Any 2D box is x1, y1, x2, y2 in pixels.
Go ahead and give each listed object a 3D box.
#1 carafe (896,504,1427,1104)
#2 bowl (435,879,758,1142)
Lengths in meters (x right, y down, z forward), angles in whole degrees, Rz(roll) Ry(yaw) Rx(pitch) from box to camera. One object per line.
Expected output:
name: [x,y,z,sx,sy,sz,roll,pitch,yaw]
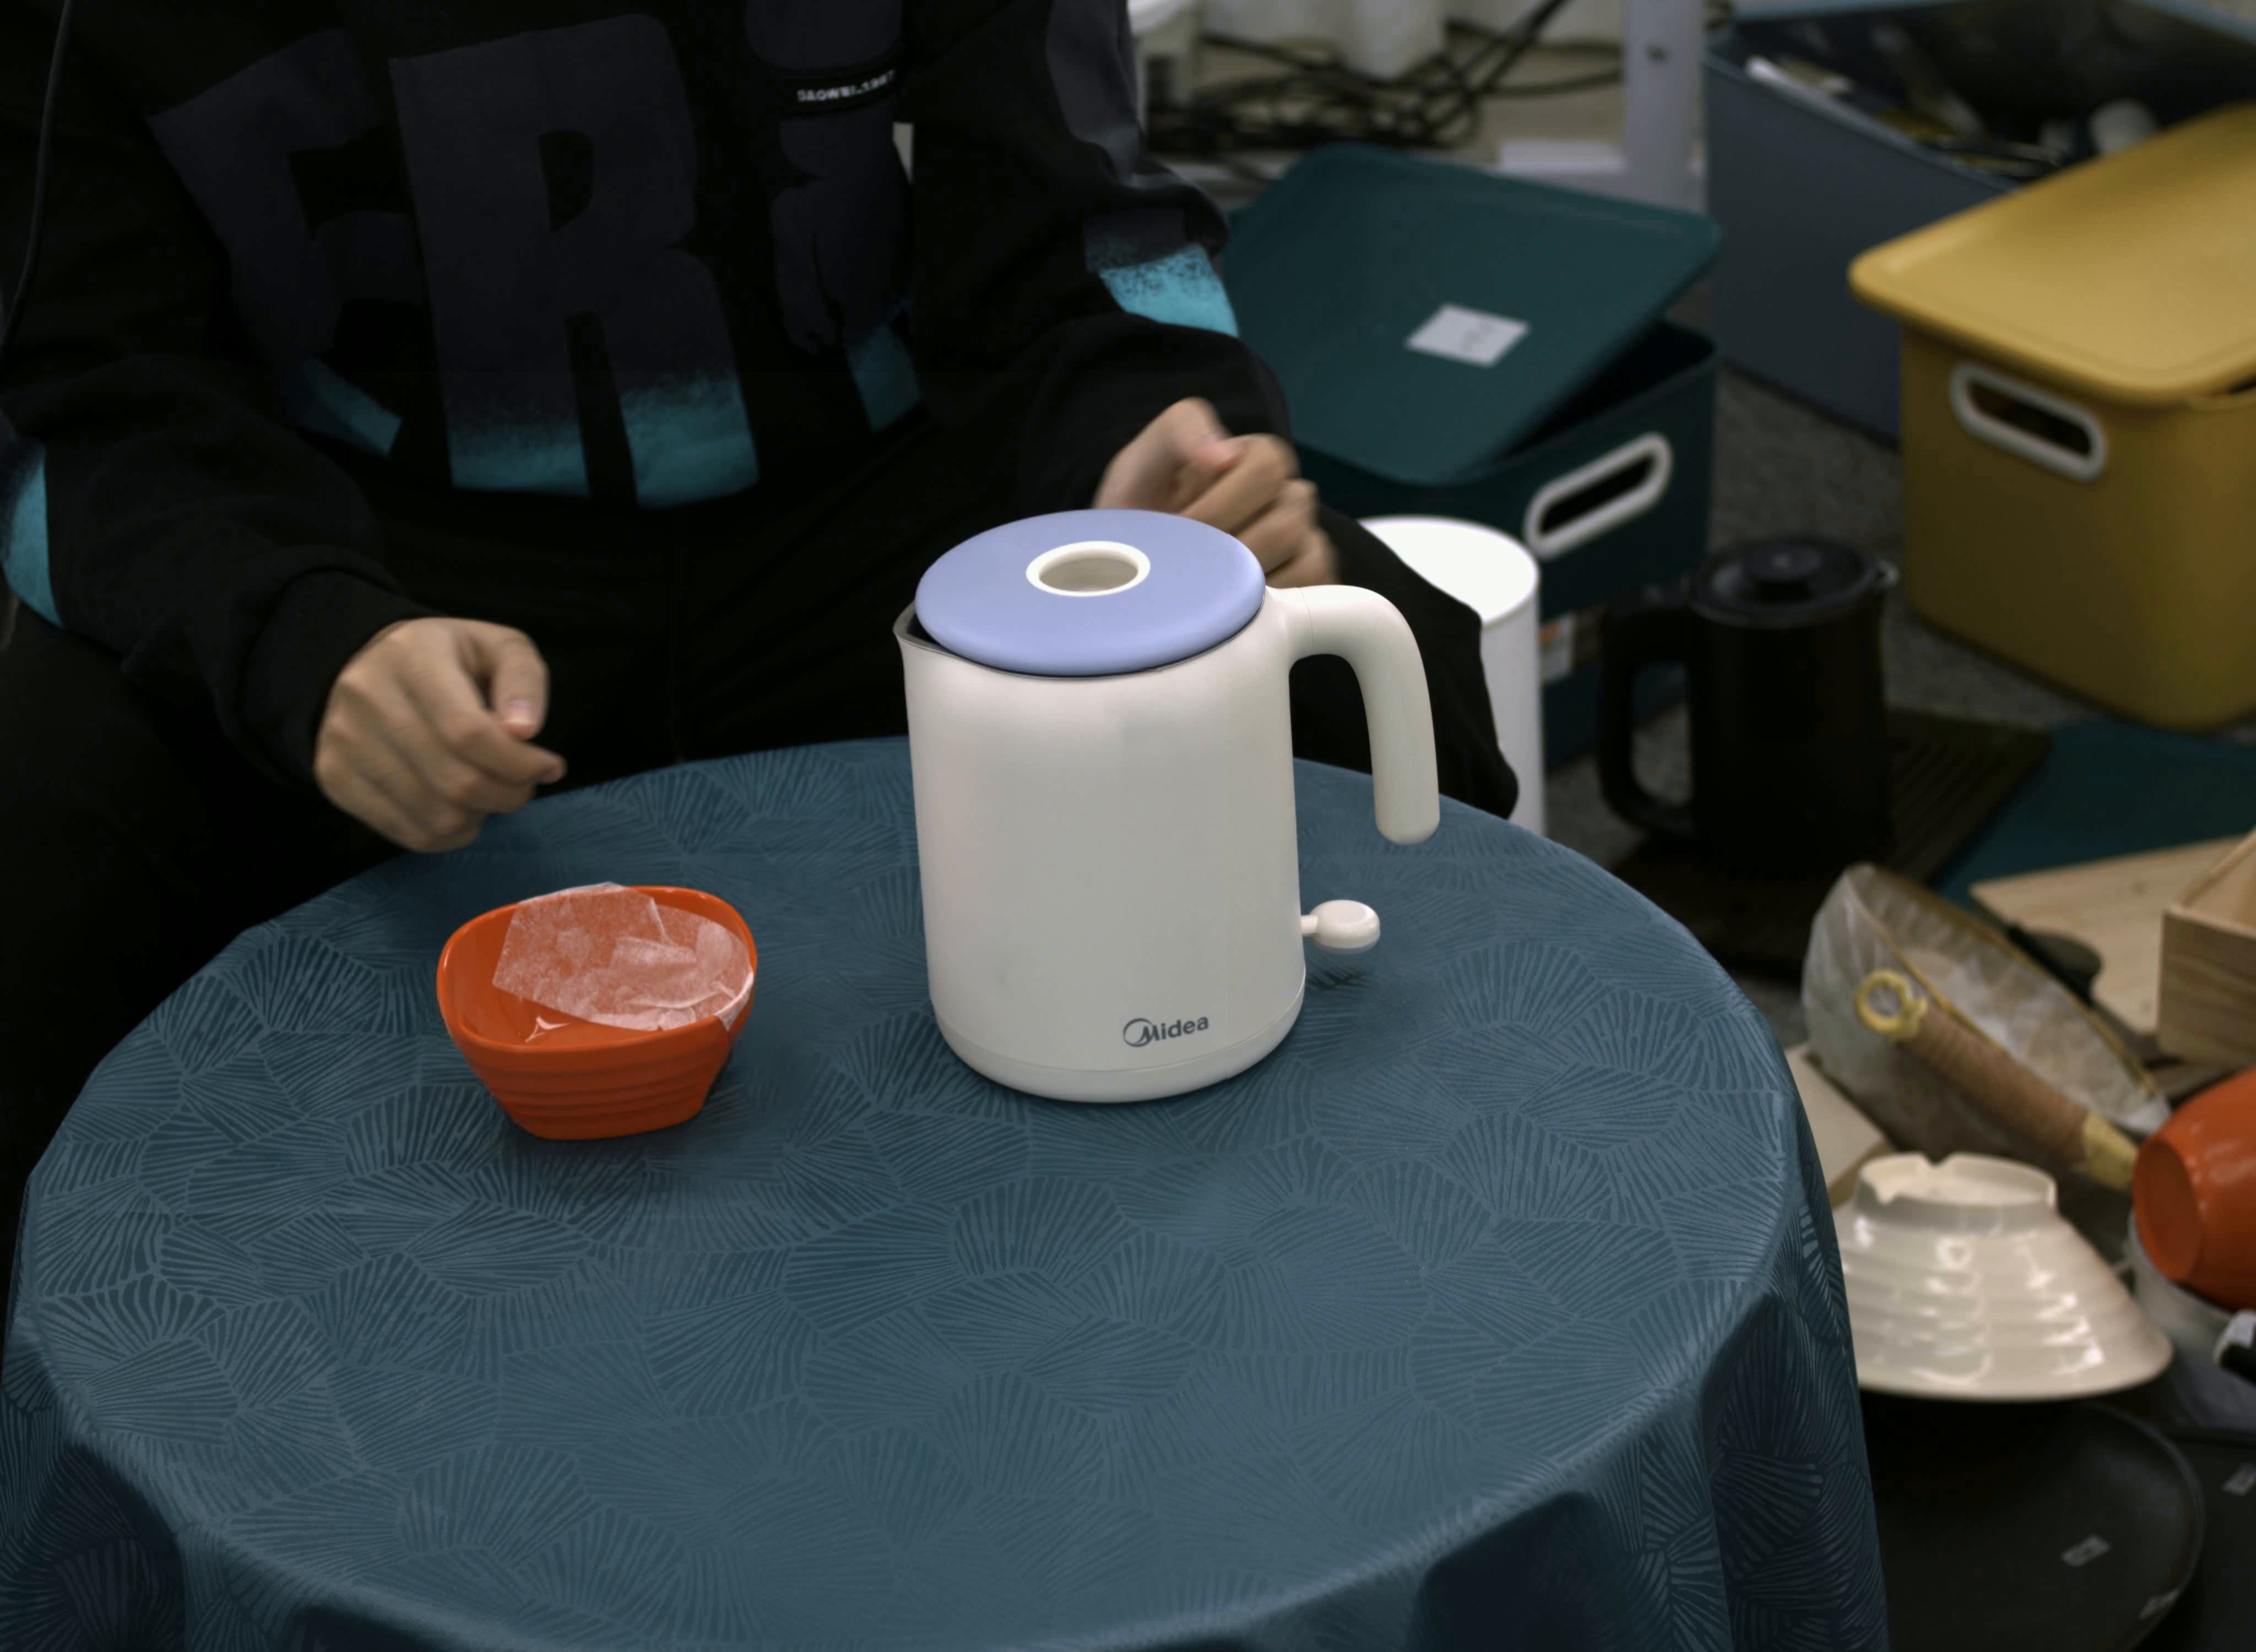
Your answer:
carafe: [0.014,-0.012,1.933,0.191,0.180,0.133,-9,28,-16]
bowl: [-0.179,0.068,1.924,0.118,0.051,0.121,-3,29,2]
